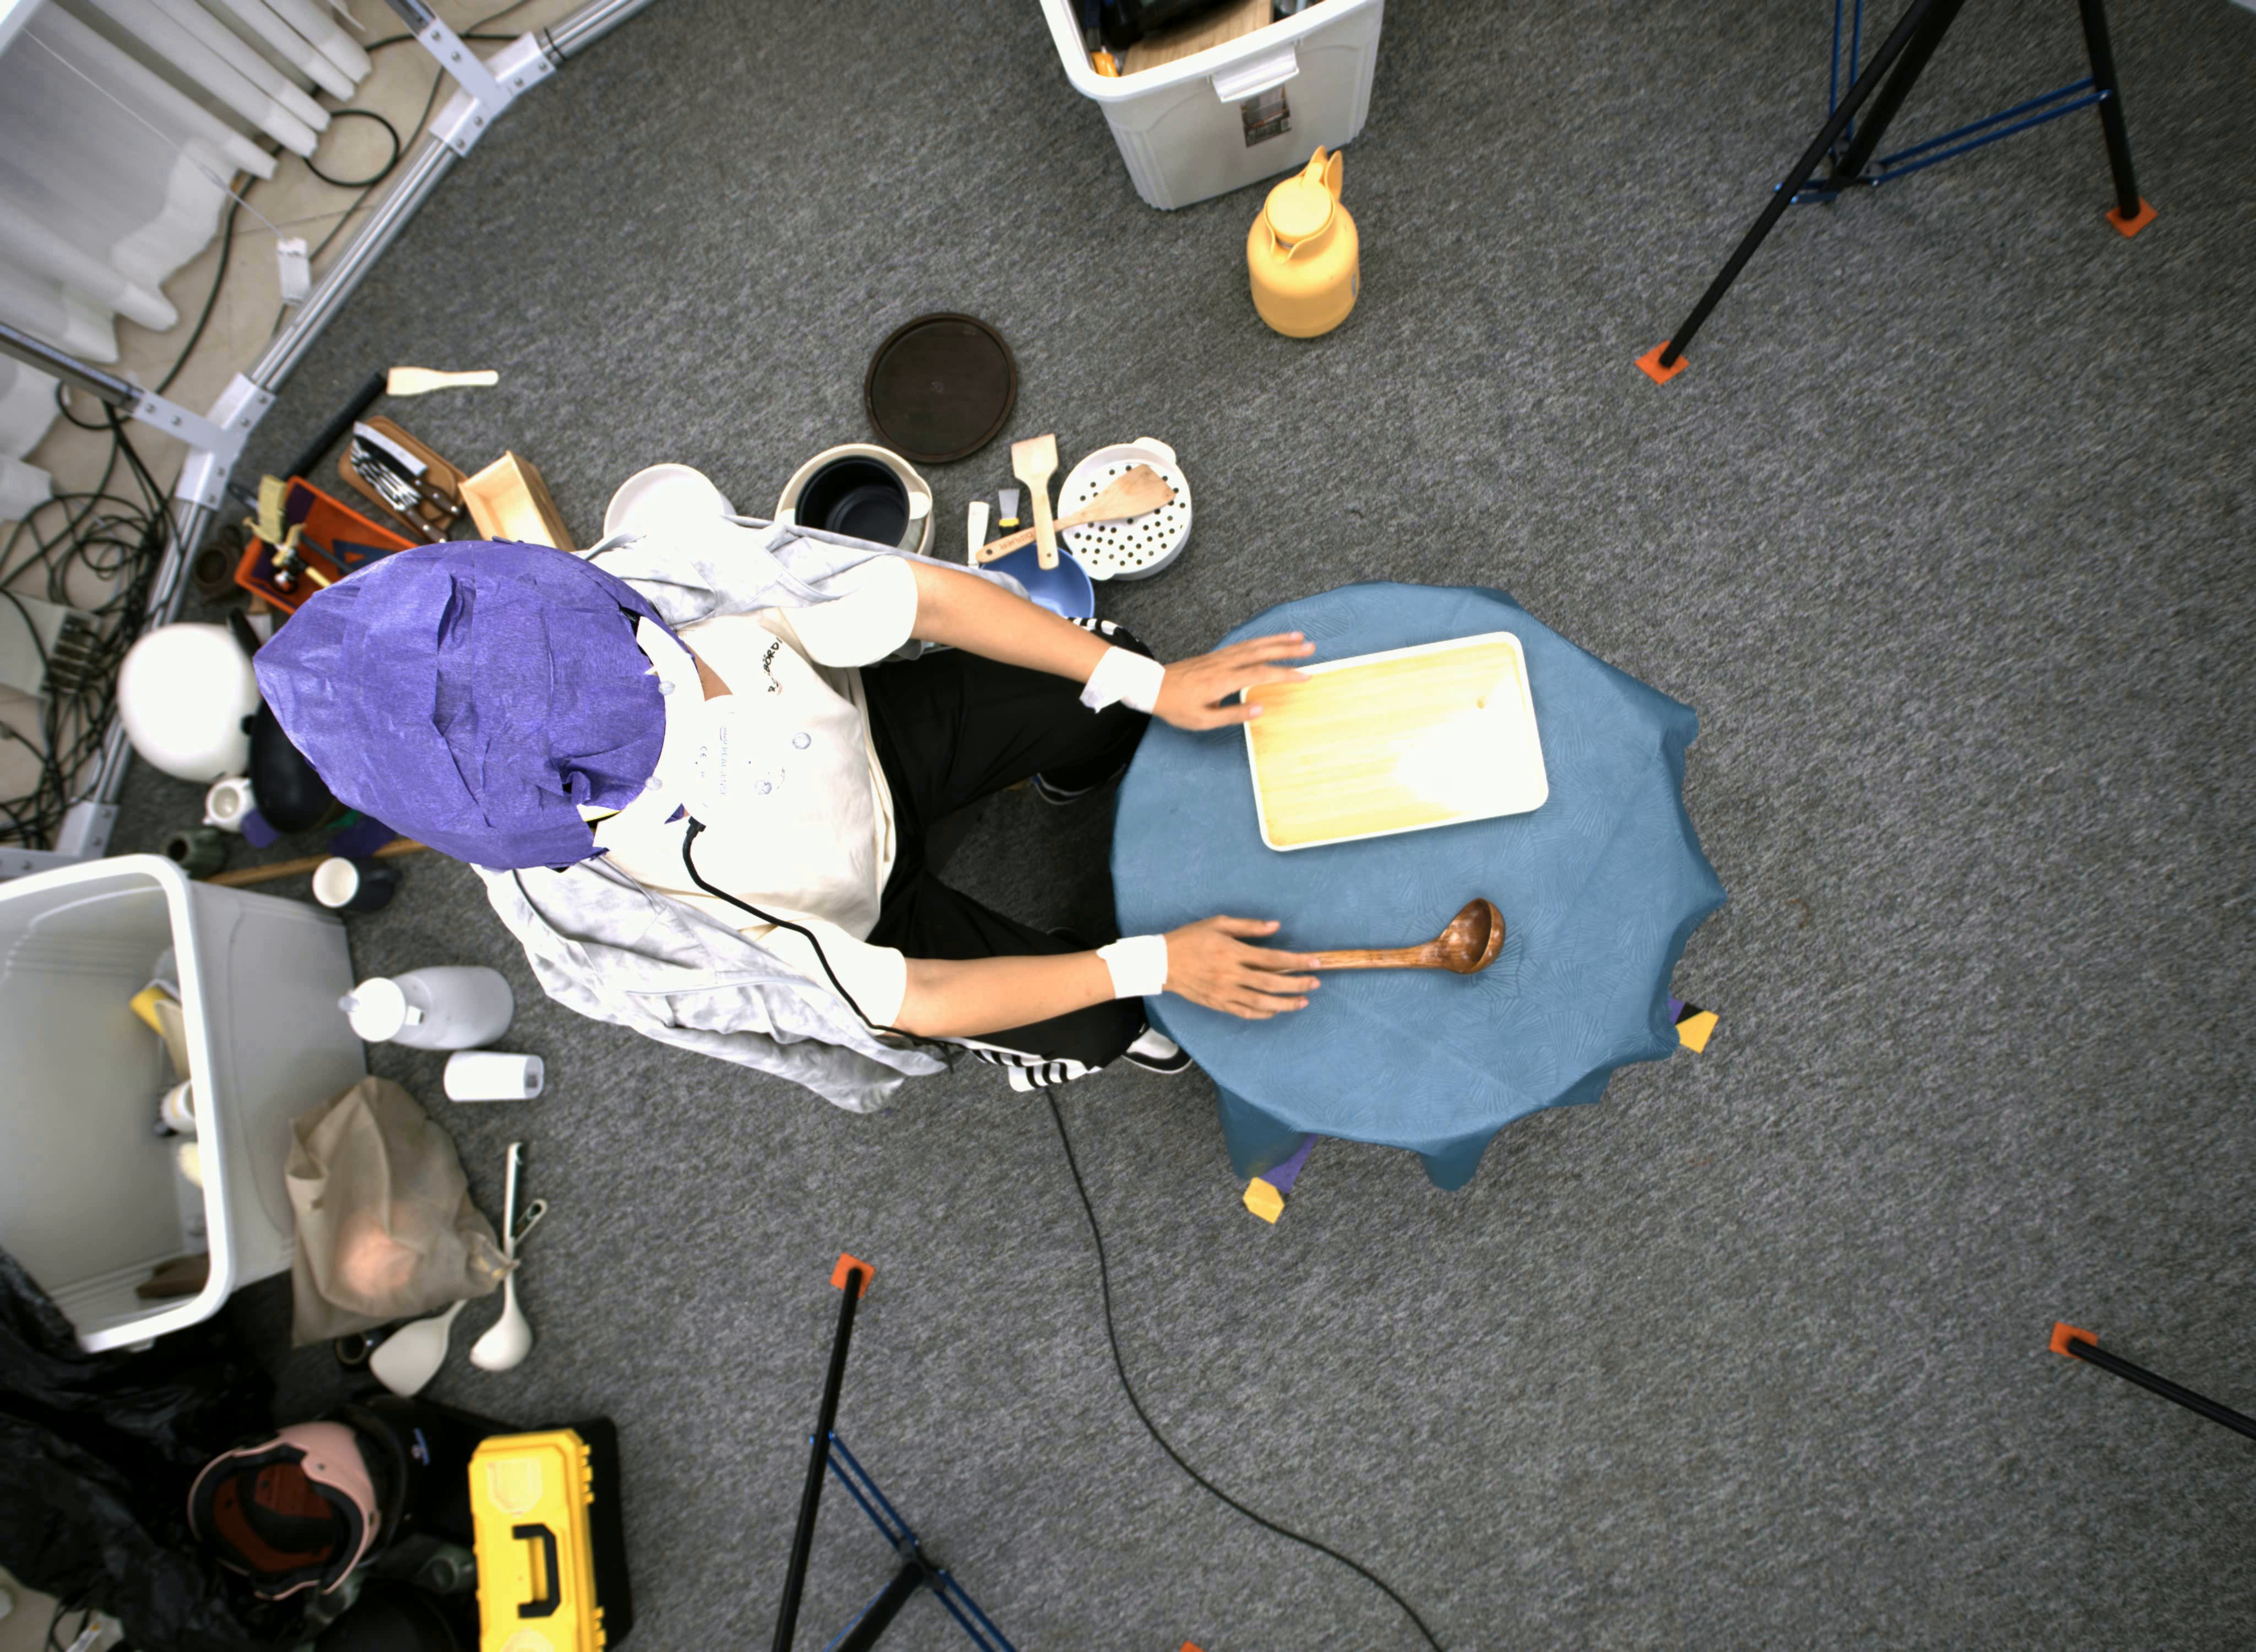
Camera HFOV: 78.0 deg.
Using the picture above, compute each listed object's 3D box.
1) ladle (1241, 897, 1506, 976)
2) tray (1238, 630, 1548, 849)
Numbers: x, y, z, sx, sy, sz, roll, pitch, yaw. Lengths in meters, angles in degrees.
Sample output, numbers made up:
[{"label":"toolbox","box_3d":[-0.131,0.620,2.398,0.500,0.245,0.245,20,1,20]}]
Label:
[{"label":"ladle","box_3d":[0.249,0.119,1.424,0.275,0.078,0.079,-3,46,11]},{"label":"tray","box_3d":[0.277,-0.091,1.452,0.302,0.027,0.190,-9,85,10]}]
